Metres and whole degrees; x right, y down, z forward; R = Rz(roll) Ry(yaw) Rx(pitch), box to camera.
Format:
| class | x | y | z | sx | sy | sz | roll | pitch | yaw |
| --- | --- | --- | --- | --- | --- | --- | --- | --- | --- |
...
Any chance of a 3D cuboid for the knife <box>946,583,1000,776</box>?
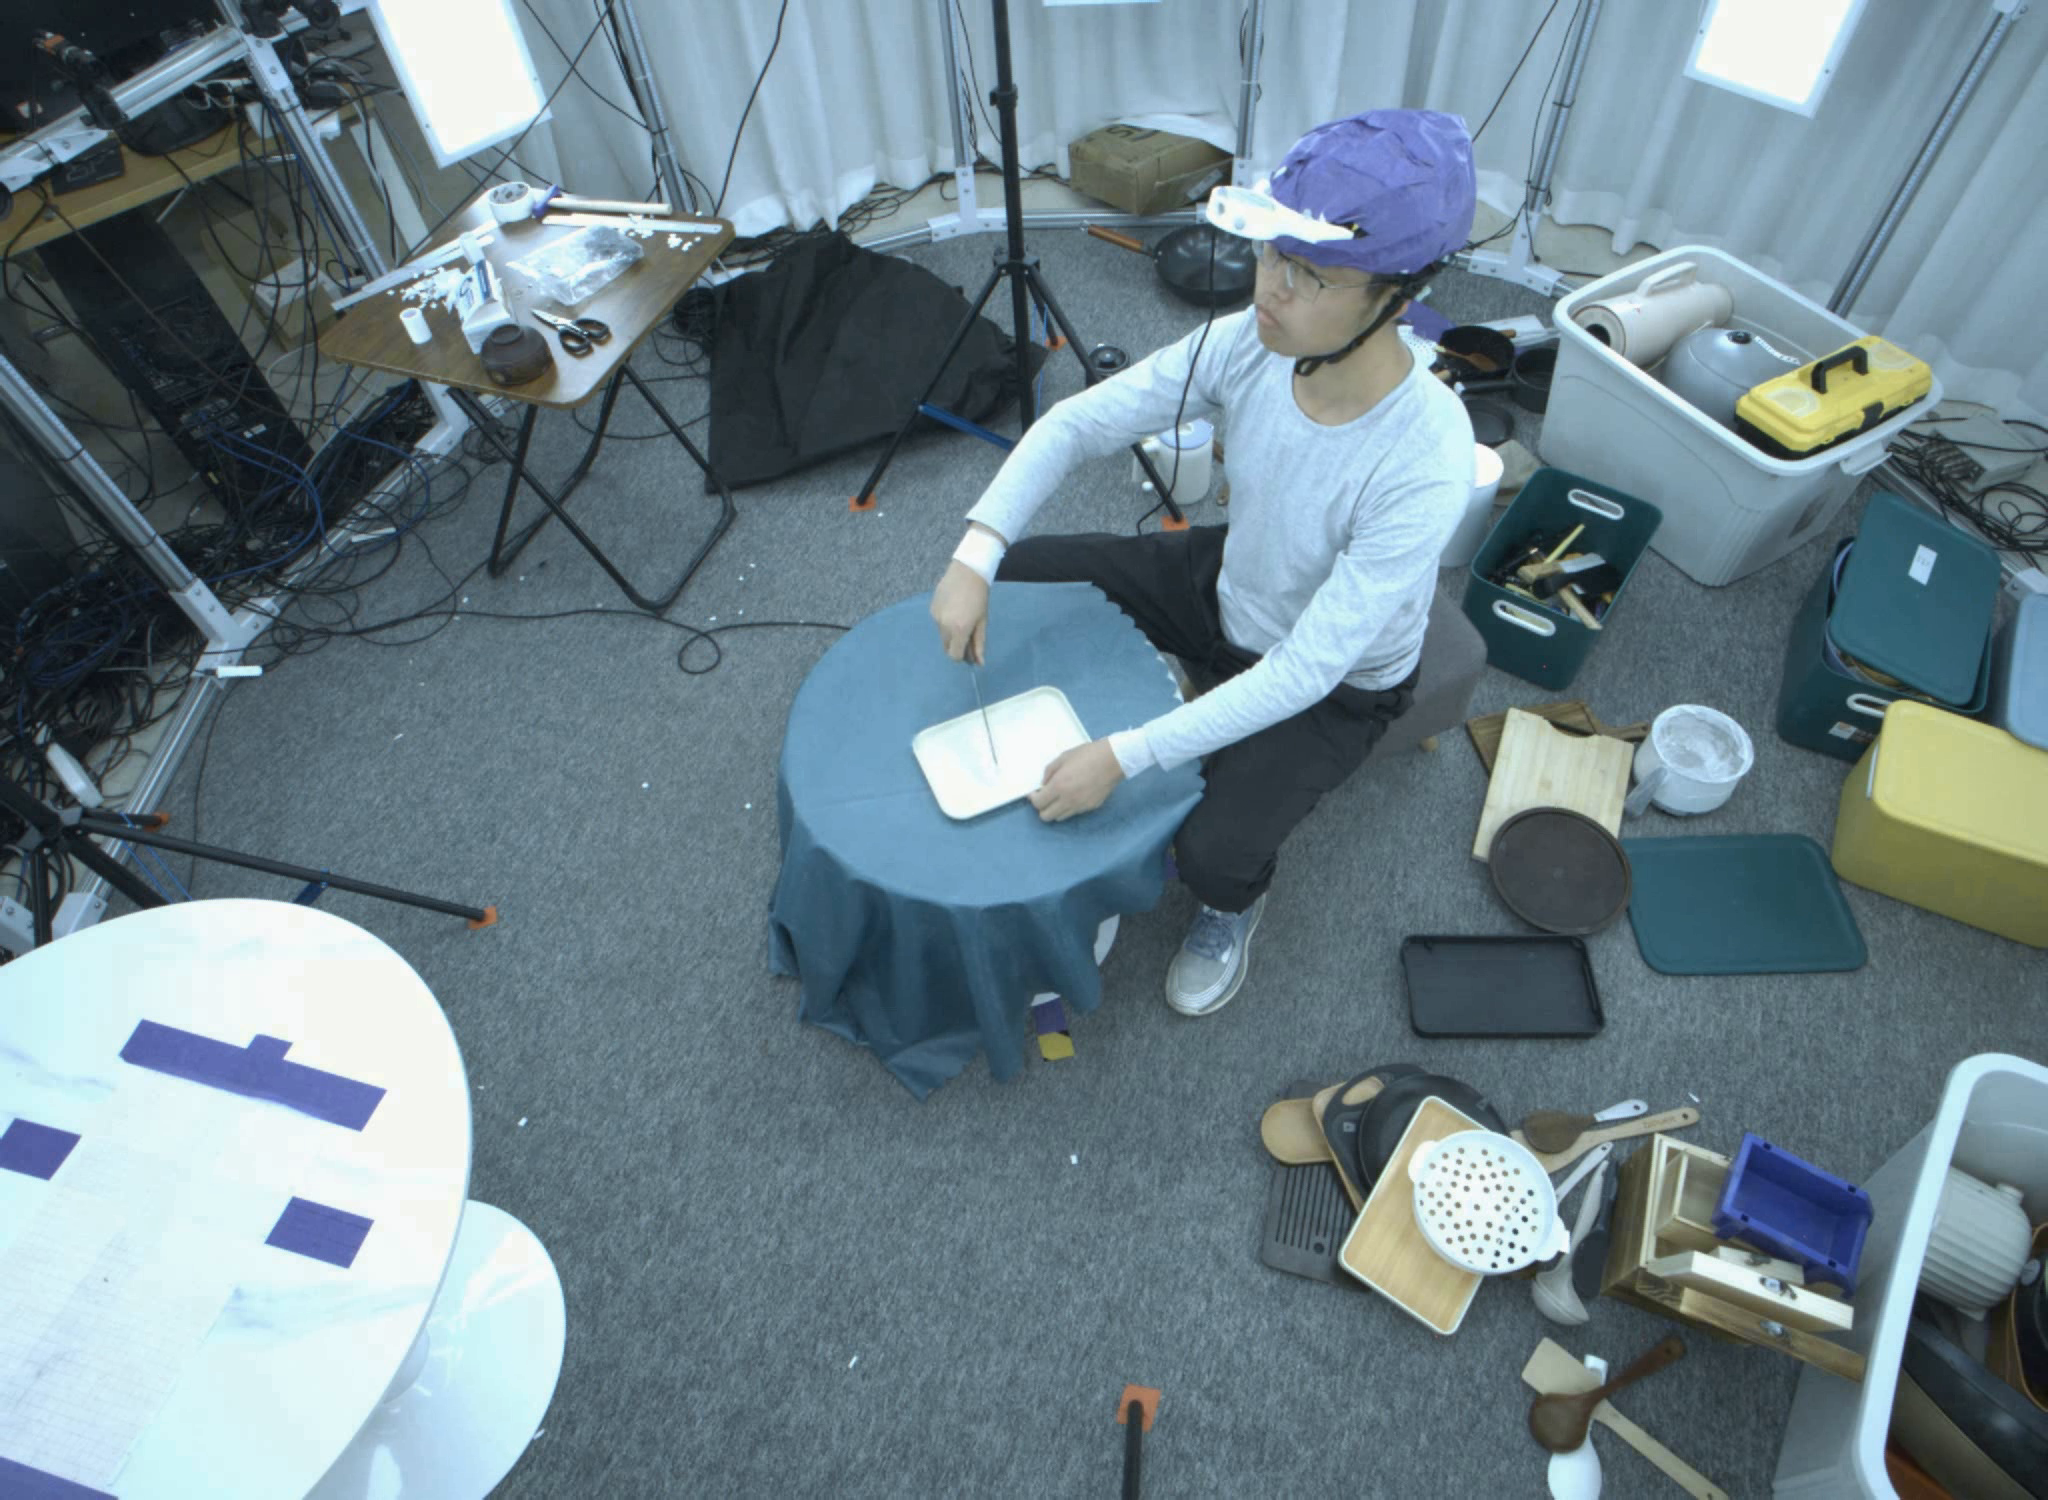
| class | x | y | z | sx | sy | sz | roll | pitch | yaw |
| --- | --- | --- | --- | --- | --- | --- | --- | --- | --- |
| knife | -0.070 | -0.102 | 1.754 | 0.020 | 0.050 | 0.287 | -14 | 82 | -2 |

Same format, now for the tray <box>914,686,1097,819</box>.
| class | x | y | z | sx | sy | sz | roll | pitch | yaw |
| --- | --- | --- | --- | --- | --- | --- | --- | --- | --- |
| tray | -0.028 | 0.003 | 1.782 | 0.241 | 0.017 | 0.168 | -20 | 57 | -13 |
